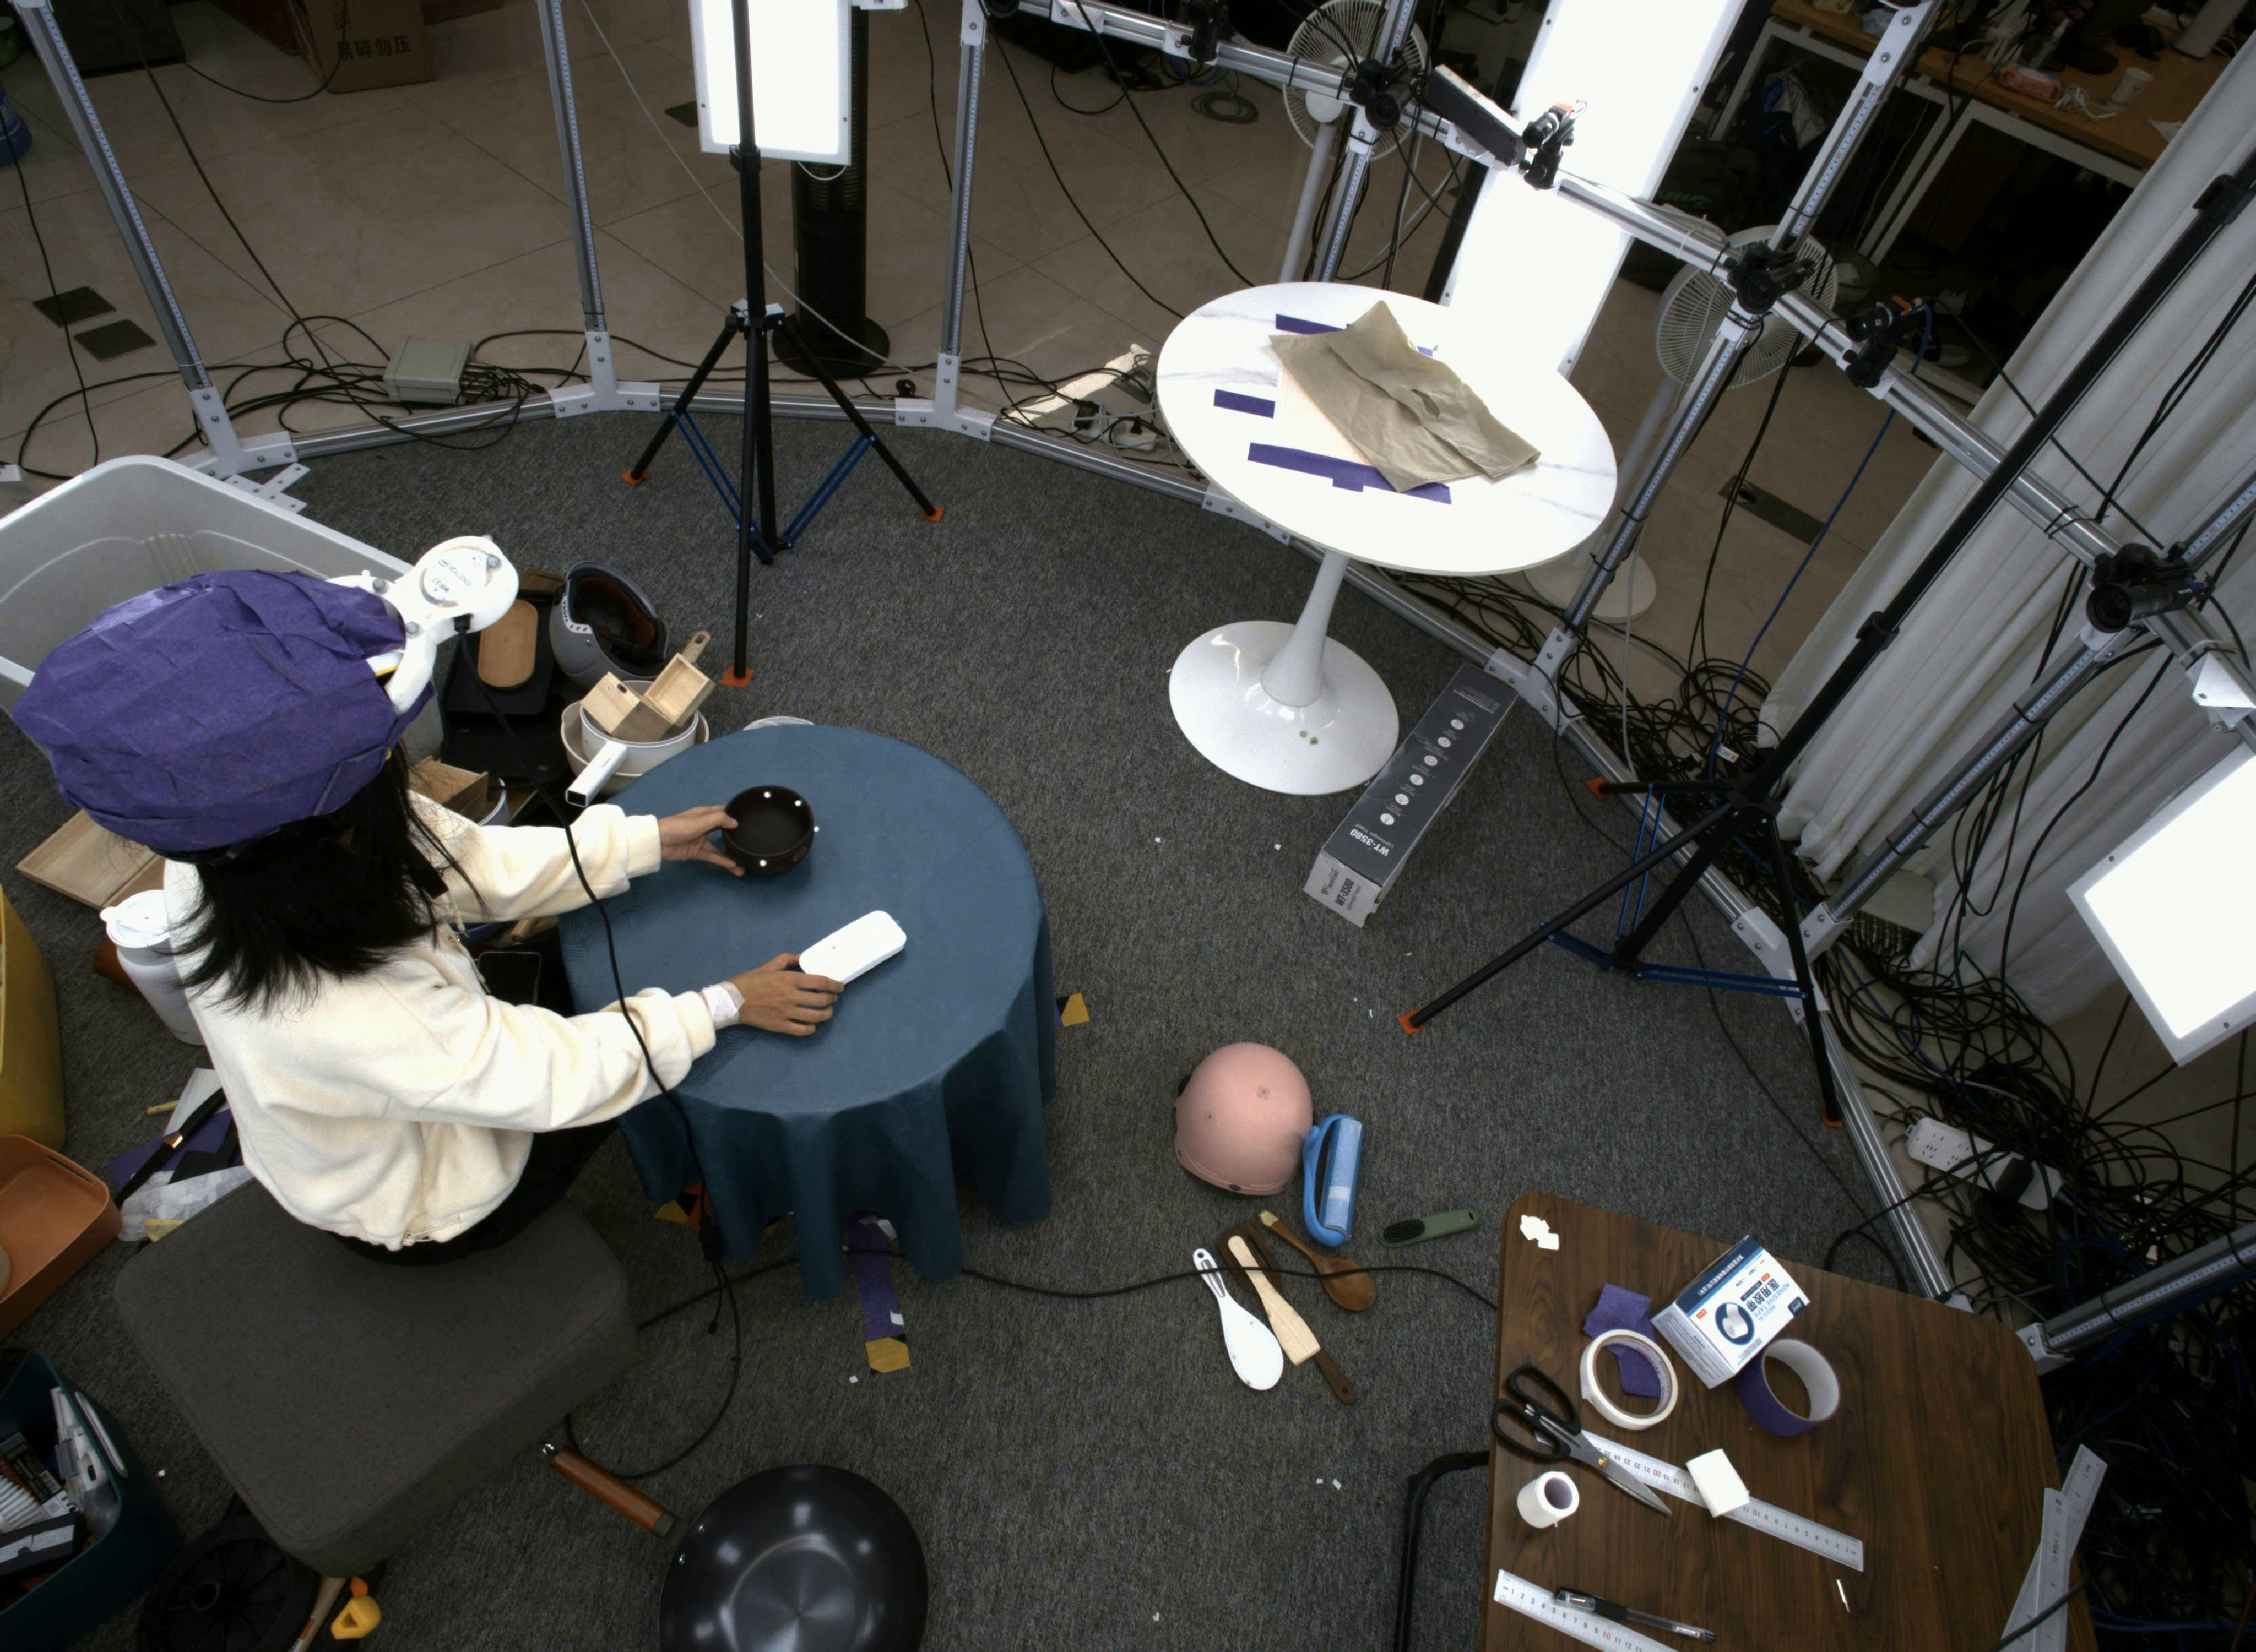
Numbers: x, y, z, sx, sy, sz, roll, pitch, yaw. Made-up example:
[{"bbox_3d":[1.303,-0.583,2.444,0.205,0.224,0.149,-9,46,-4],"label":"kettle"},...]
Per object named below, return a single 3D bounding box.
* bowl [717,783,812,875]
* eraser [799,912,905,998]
[{"bbox_3d":[-0.462,0.011,1.654,0.117,0.071,0.116,7,51,-7],"label":"bowl"},{"bbox_3d":[-0.341,0.154,1.605,0.132,0.035,0.062,-31,66,-32],"label":"eraser"}]
